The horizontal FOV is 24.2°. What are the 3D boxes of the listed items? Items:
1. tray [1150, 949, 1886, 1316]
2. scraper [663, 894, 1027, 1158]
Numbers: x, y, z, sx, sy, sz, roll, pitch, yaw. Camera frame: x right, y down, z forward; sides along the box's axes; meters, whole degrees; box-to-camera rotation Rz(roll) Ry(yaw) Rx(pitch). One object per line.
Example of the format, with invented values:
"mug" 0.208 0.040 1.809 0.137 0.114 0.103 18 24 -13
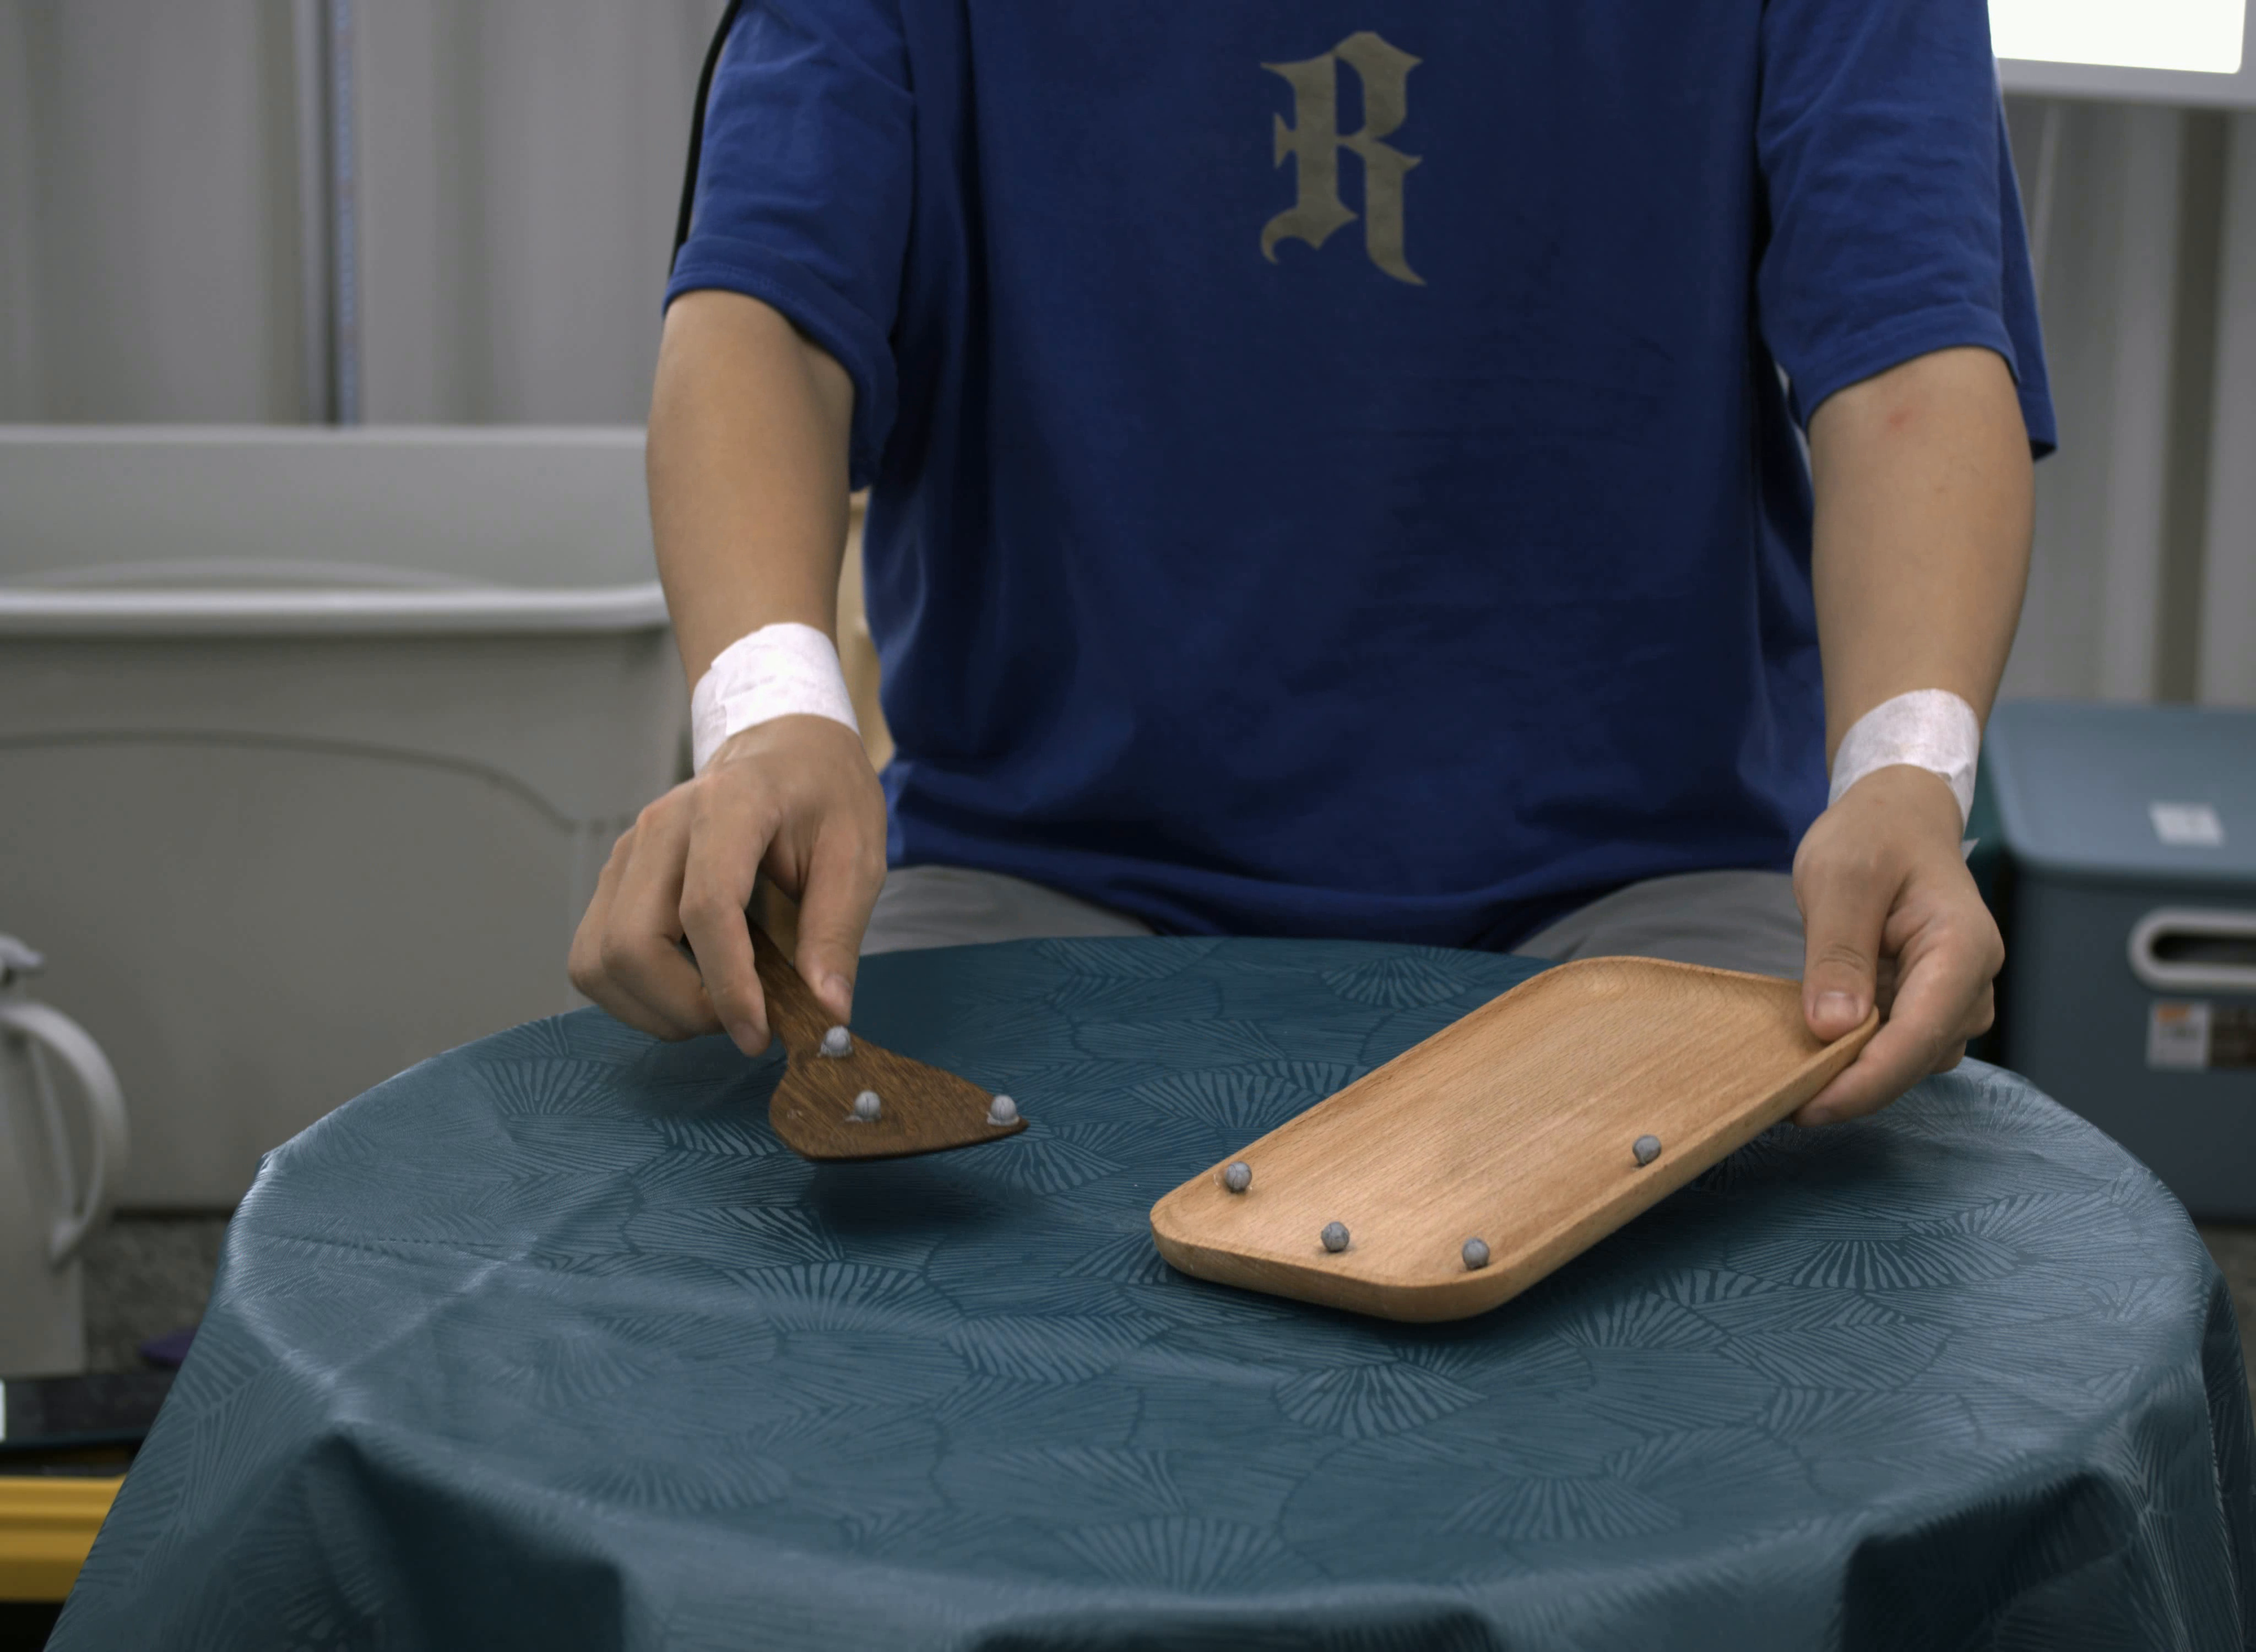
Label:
"tray" 0.122 0.091 1.607 0.129 0.023 0.251 12 25 38
"scraper" -0.102 0.062 1.663 0.076 0.011 0.208 -6 23 -23
